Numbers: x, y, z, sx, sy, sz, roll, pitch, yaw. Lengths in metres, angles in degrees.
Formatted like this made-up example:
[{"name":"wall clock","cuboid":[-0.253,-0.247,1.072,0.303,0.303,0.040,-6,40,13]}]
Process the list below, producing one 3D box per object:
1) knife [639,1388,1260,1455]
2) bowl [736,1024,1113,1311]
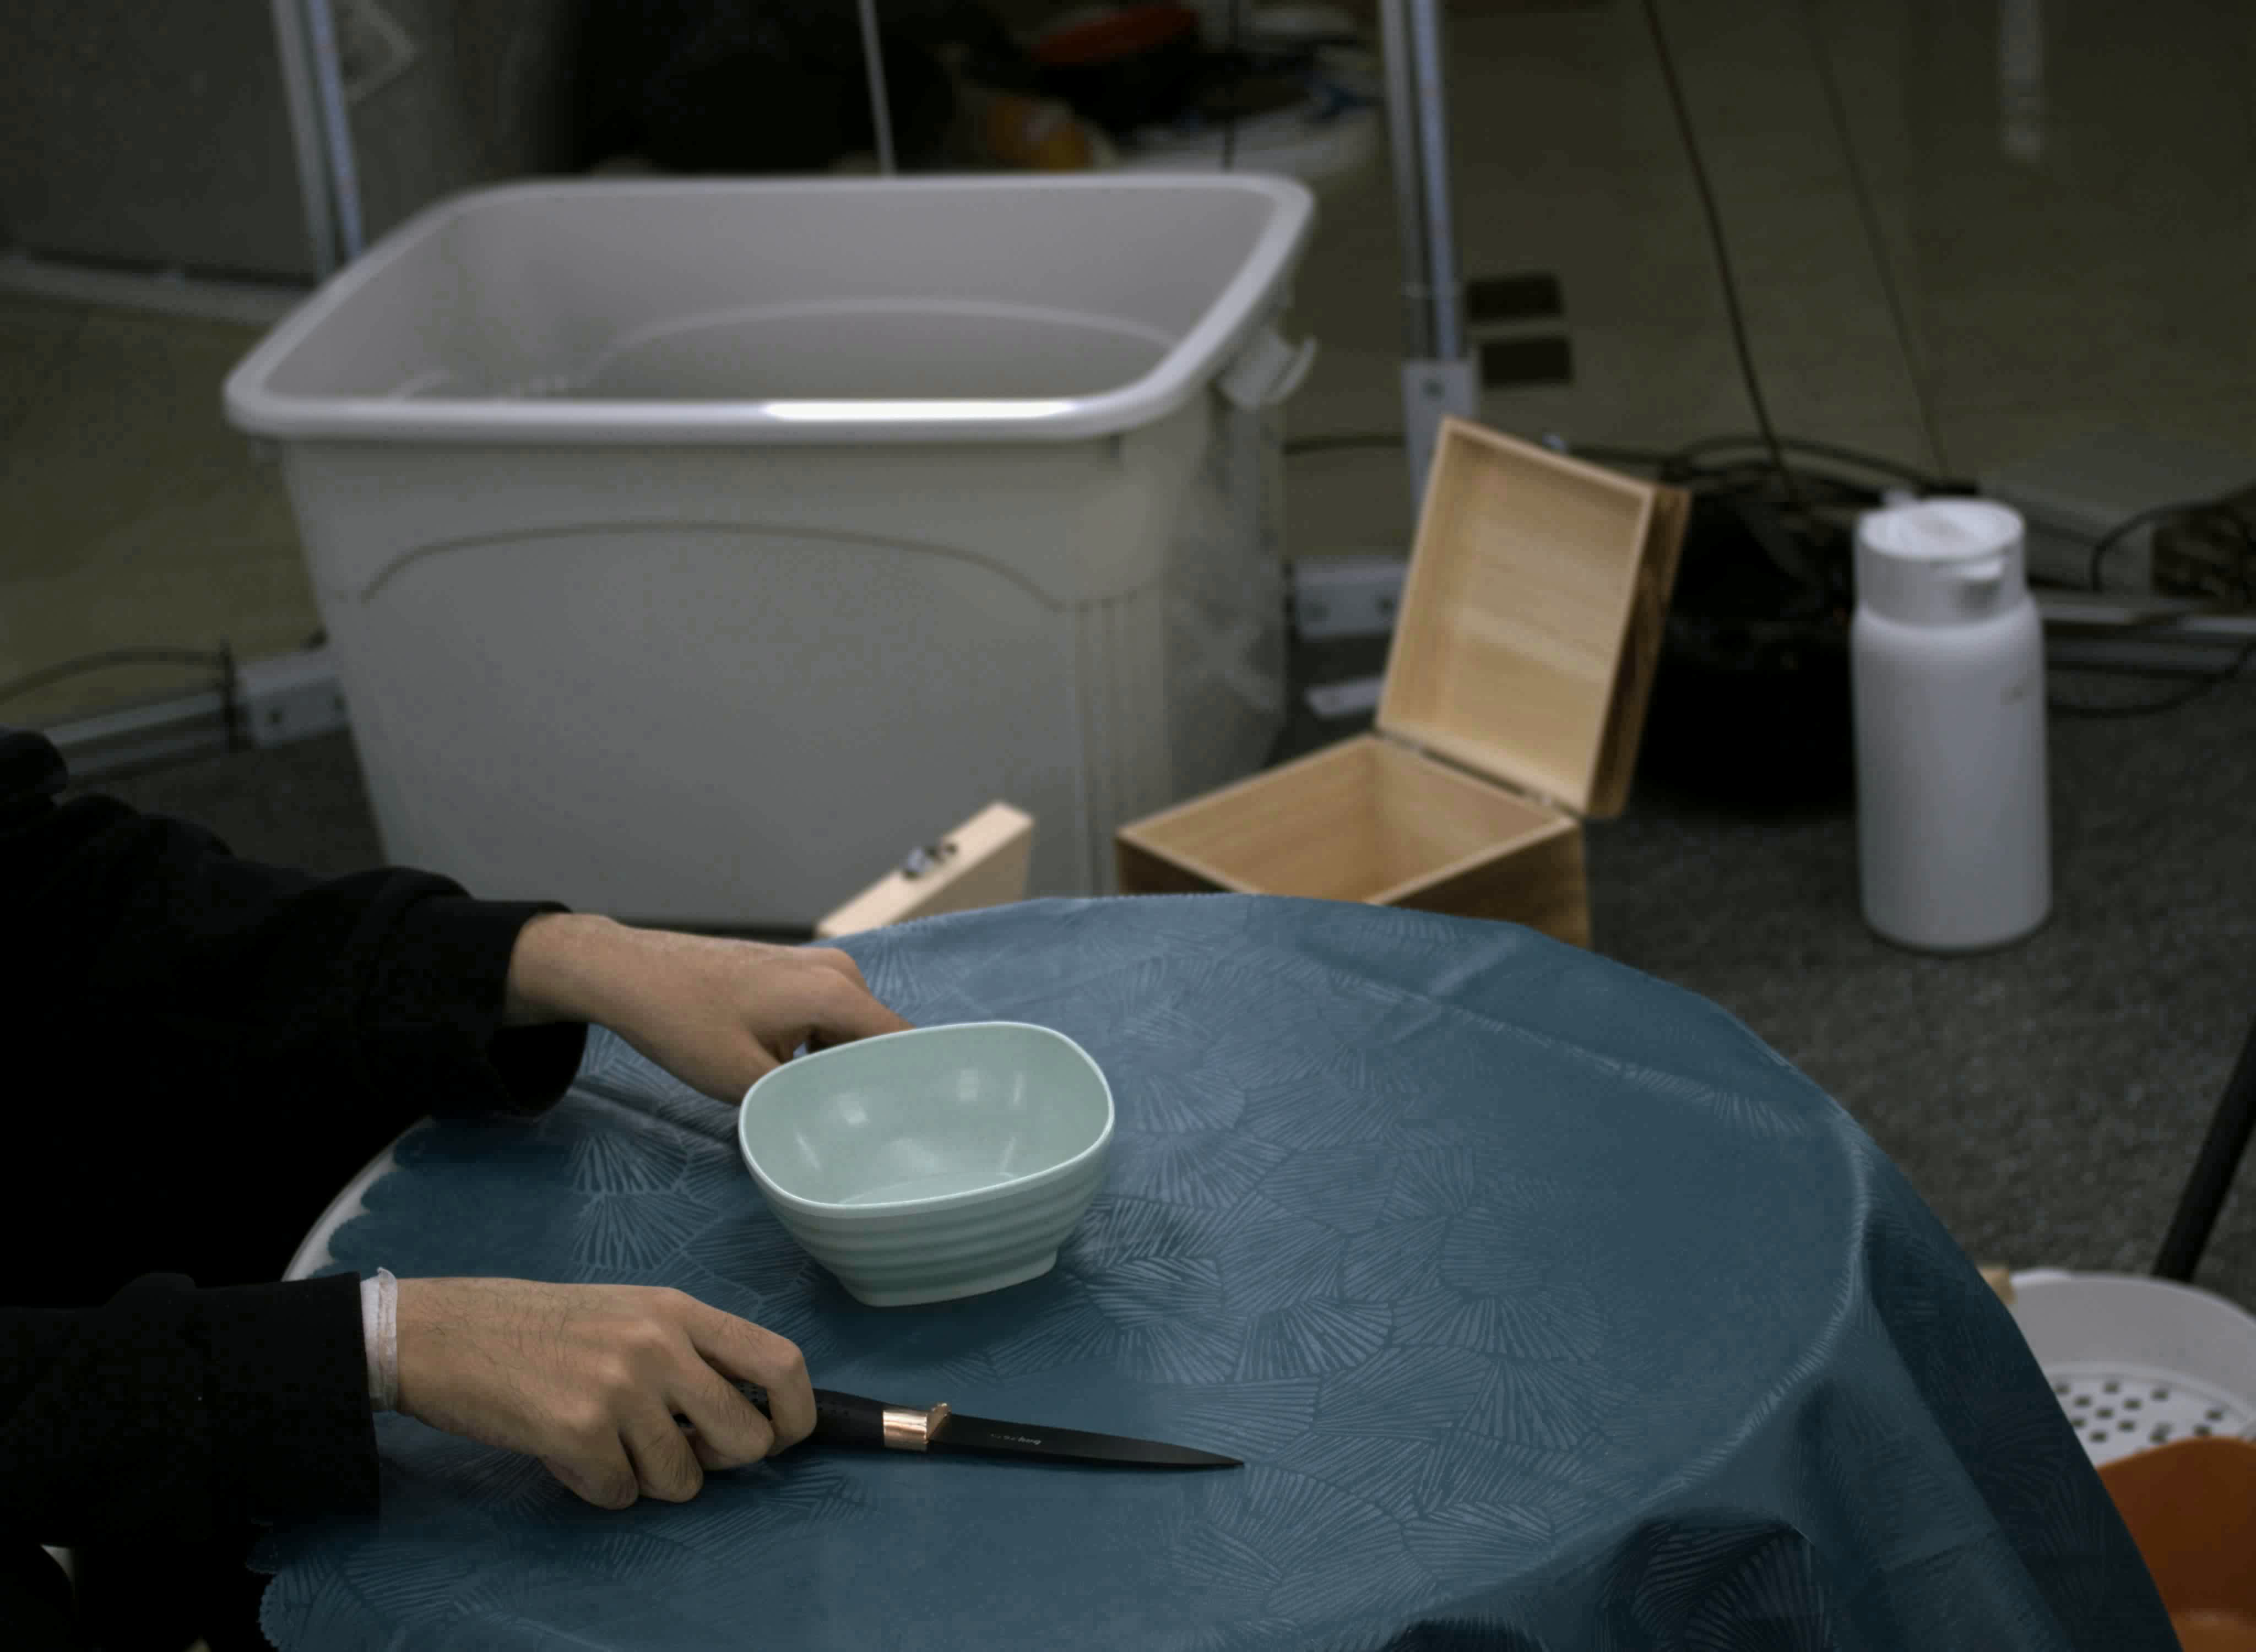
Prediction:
[{"name":"knife","cuboid":[-0.064,0.212,1.995,0.225,0.017,0.026,2,17,15]},{"name":"bowl","cuboid":[-0.073,0.133,2.112,0.151,0.059,0.149,-5,27,2]}]
